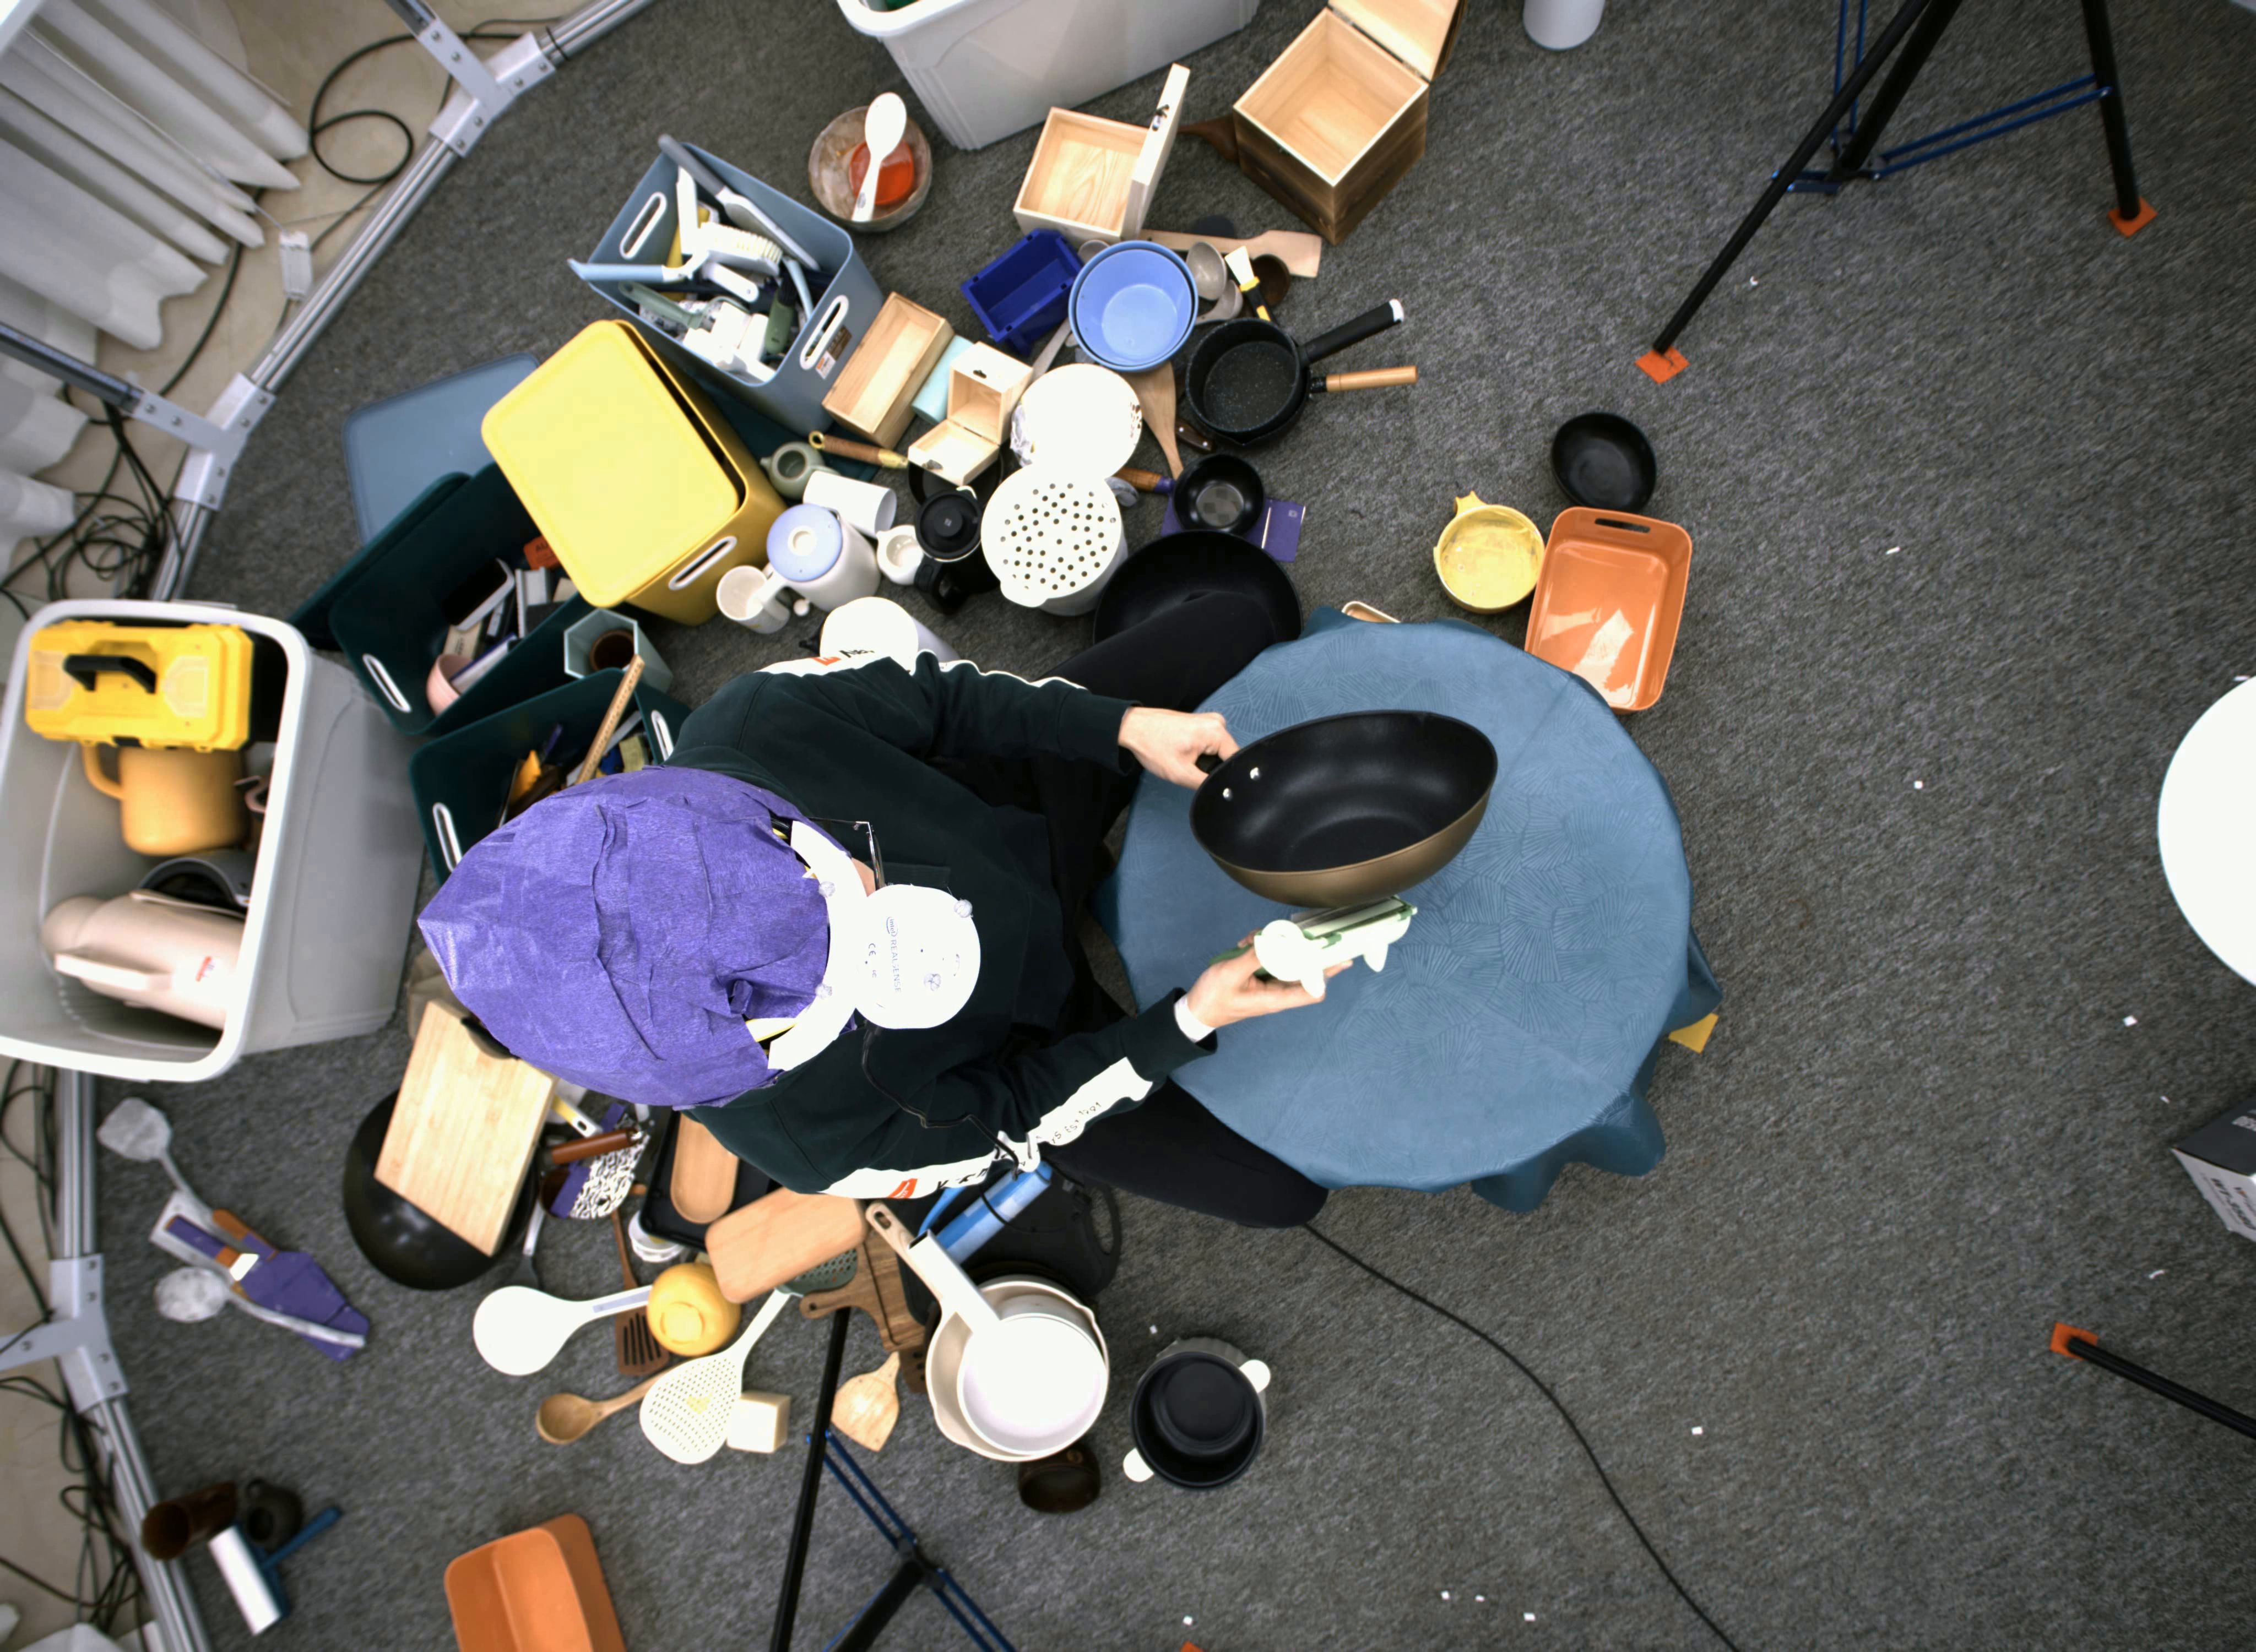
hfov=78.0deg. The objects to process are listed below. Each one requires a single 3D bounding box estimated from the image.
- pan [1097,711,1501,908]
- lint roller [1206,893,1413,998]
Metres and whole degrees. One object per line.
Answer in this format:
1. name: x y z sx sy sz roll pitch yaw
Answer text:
1. pan: 0.137 -0.023 1.314 0.463 0.282 0.088 14 132 45
2. lint roller: 0.153 0.128 1.282 0.187 0.196 0.081 -36 75 36
